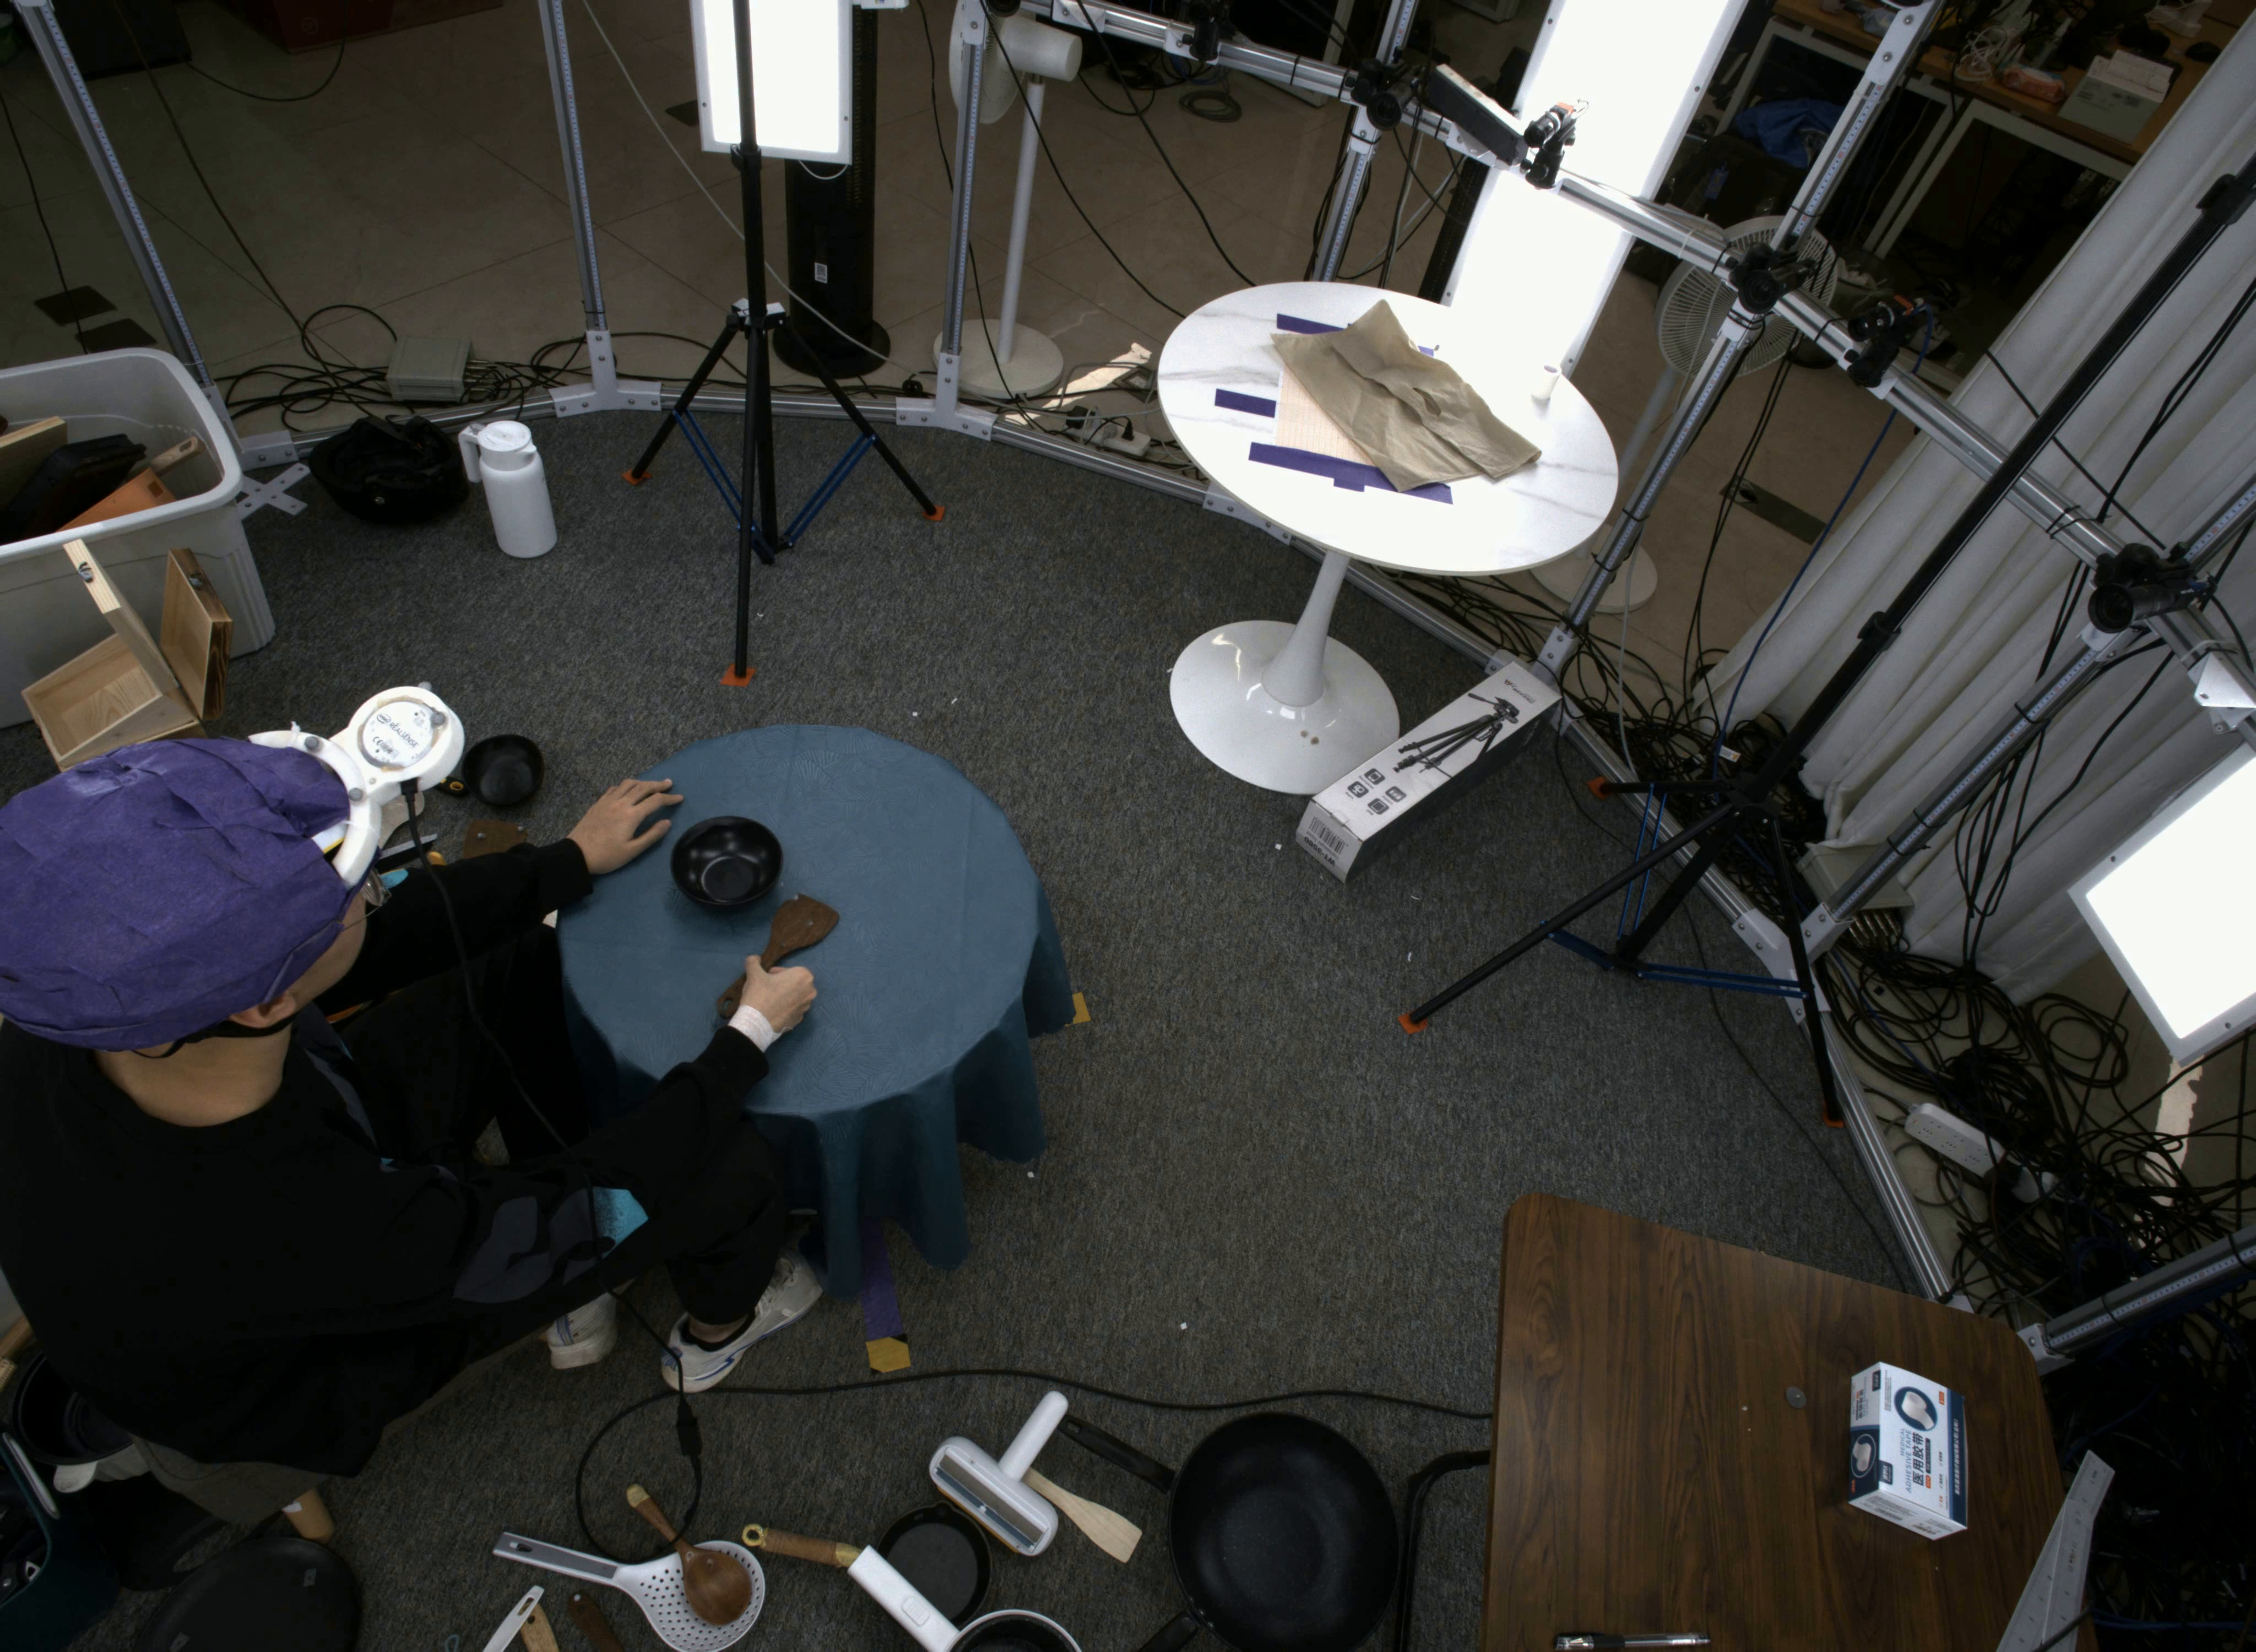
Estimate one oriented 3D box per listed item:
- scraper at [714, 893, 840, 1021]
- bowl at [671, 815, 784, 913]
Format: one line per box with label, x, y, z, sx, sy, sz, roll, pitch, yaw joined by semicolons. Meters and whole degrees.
scraper;-0.437;0.160;1.591;0.074;0.011;0.210;26;45;7
bowl;-0.506;0.054;1.637;0.140;0.050;0.138;8;55;-10
